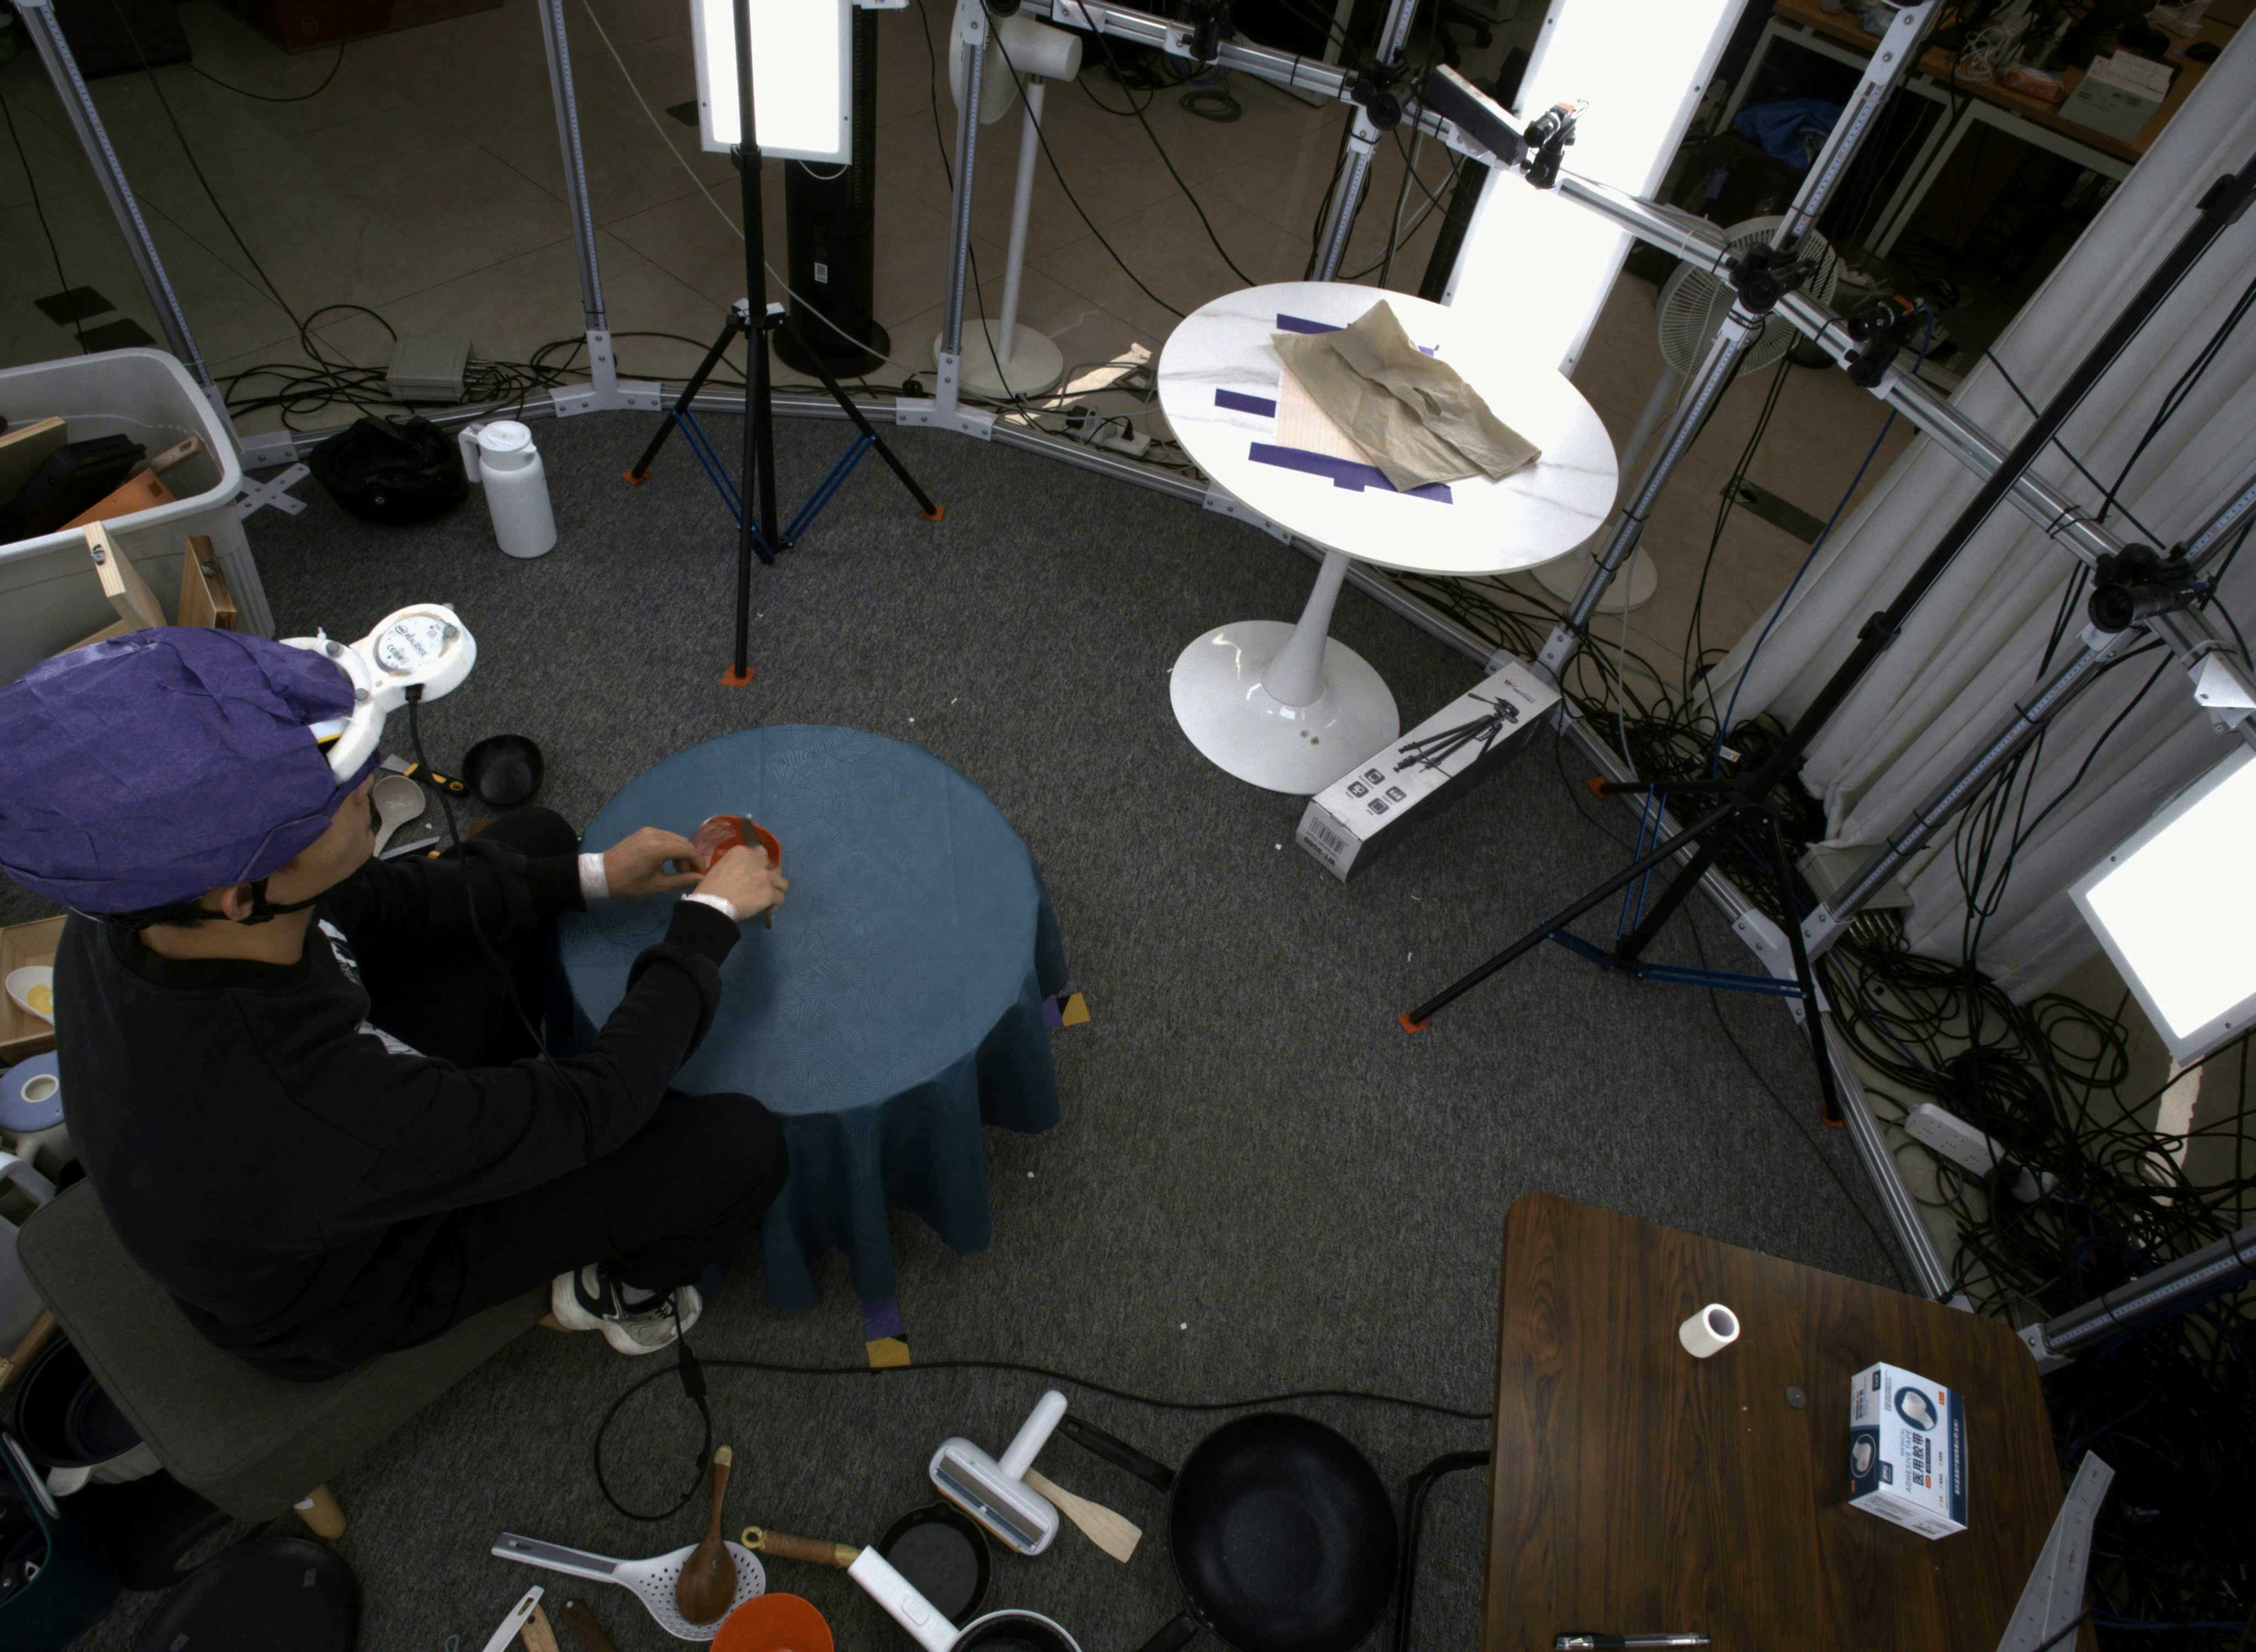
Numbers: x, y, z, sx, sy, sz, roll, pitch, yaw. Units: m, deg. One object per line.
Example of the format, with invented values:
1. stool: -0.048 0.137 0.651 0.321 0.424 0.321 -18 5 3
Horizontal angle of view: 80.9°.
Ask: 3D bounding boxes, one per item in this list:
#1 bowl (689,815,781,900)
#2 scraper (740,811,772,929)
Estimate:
1. bowl: -0.500 0.046 1.632 0.120 0.051 0.116 20 44 -19
2. scraper: -0.447 0.057 1.566 0.011 0.079 0.204 -23 36 -6
